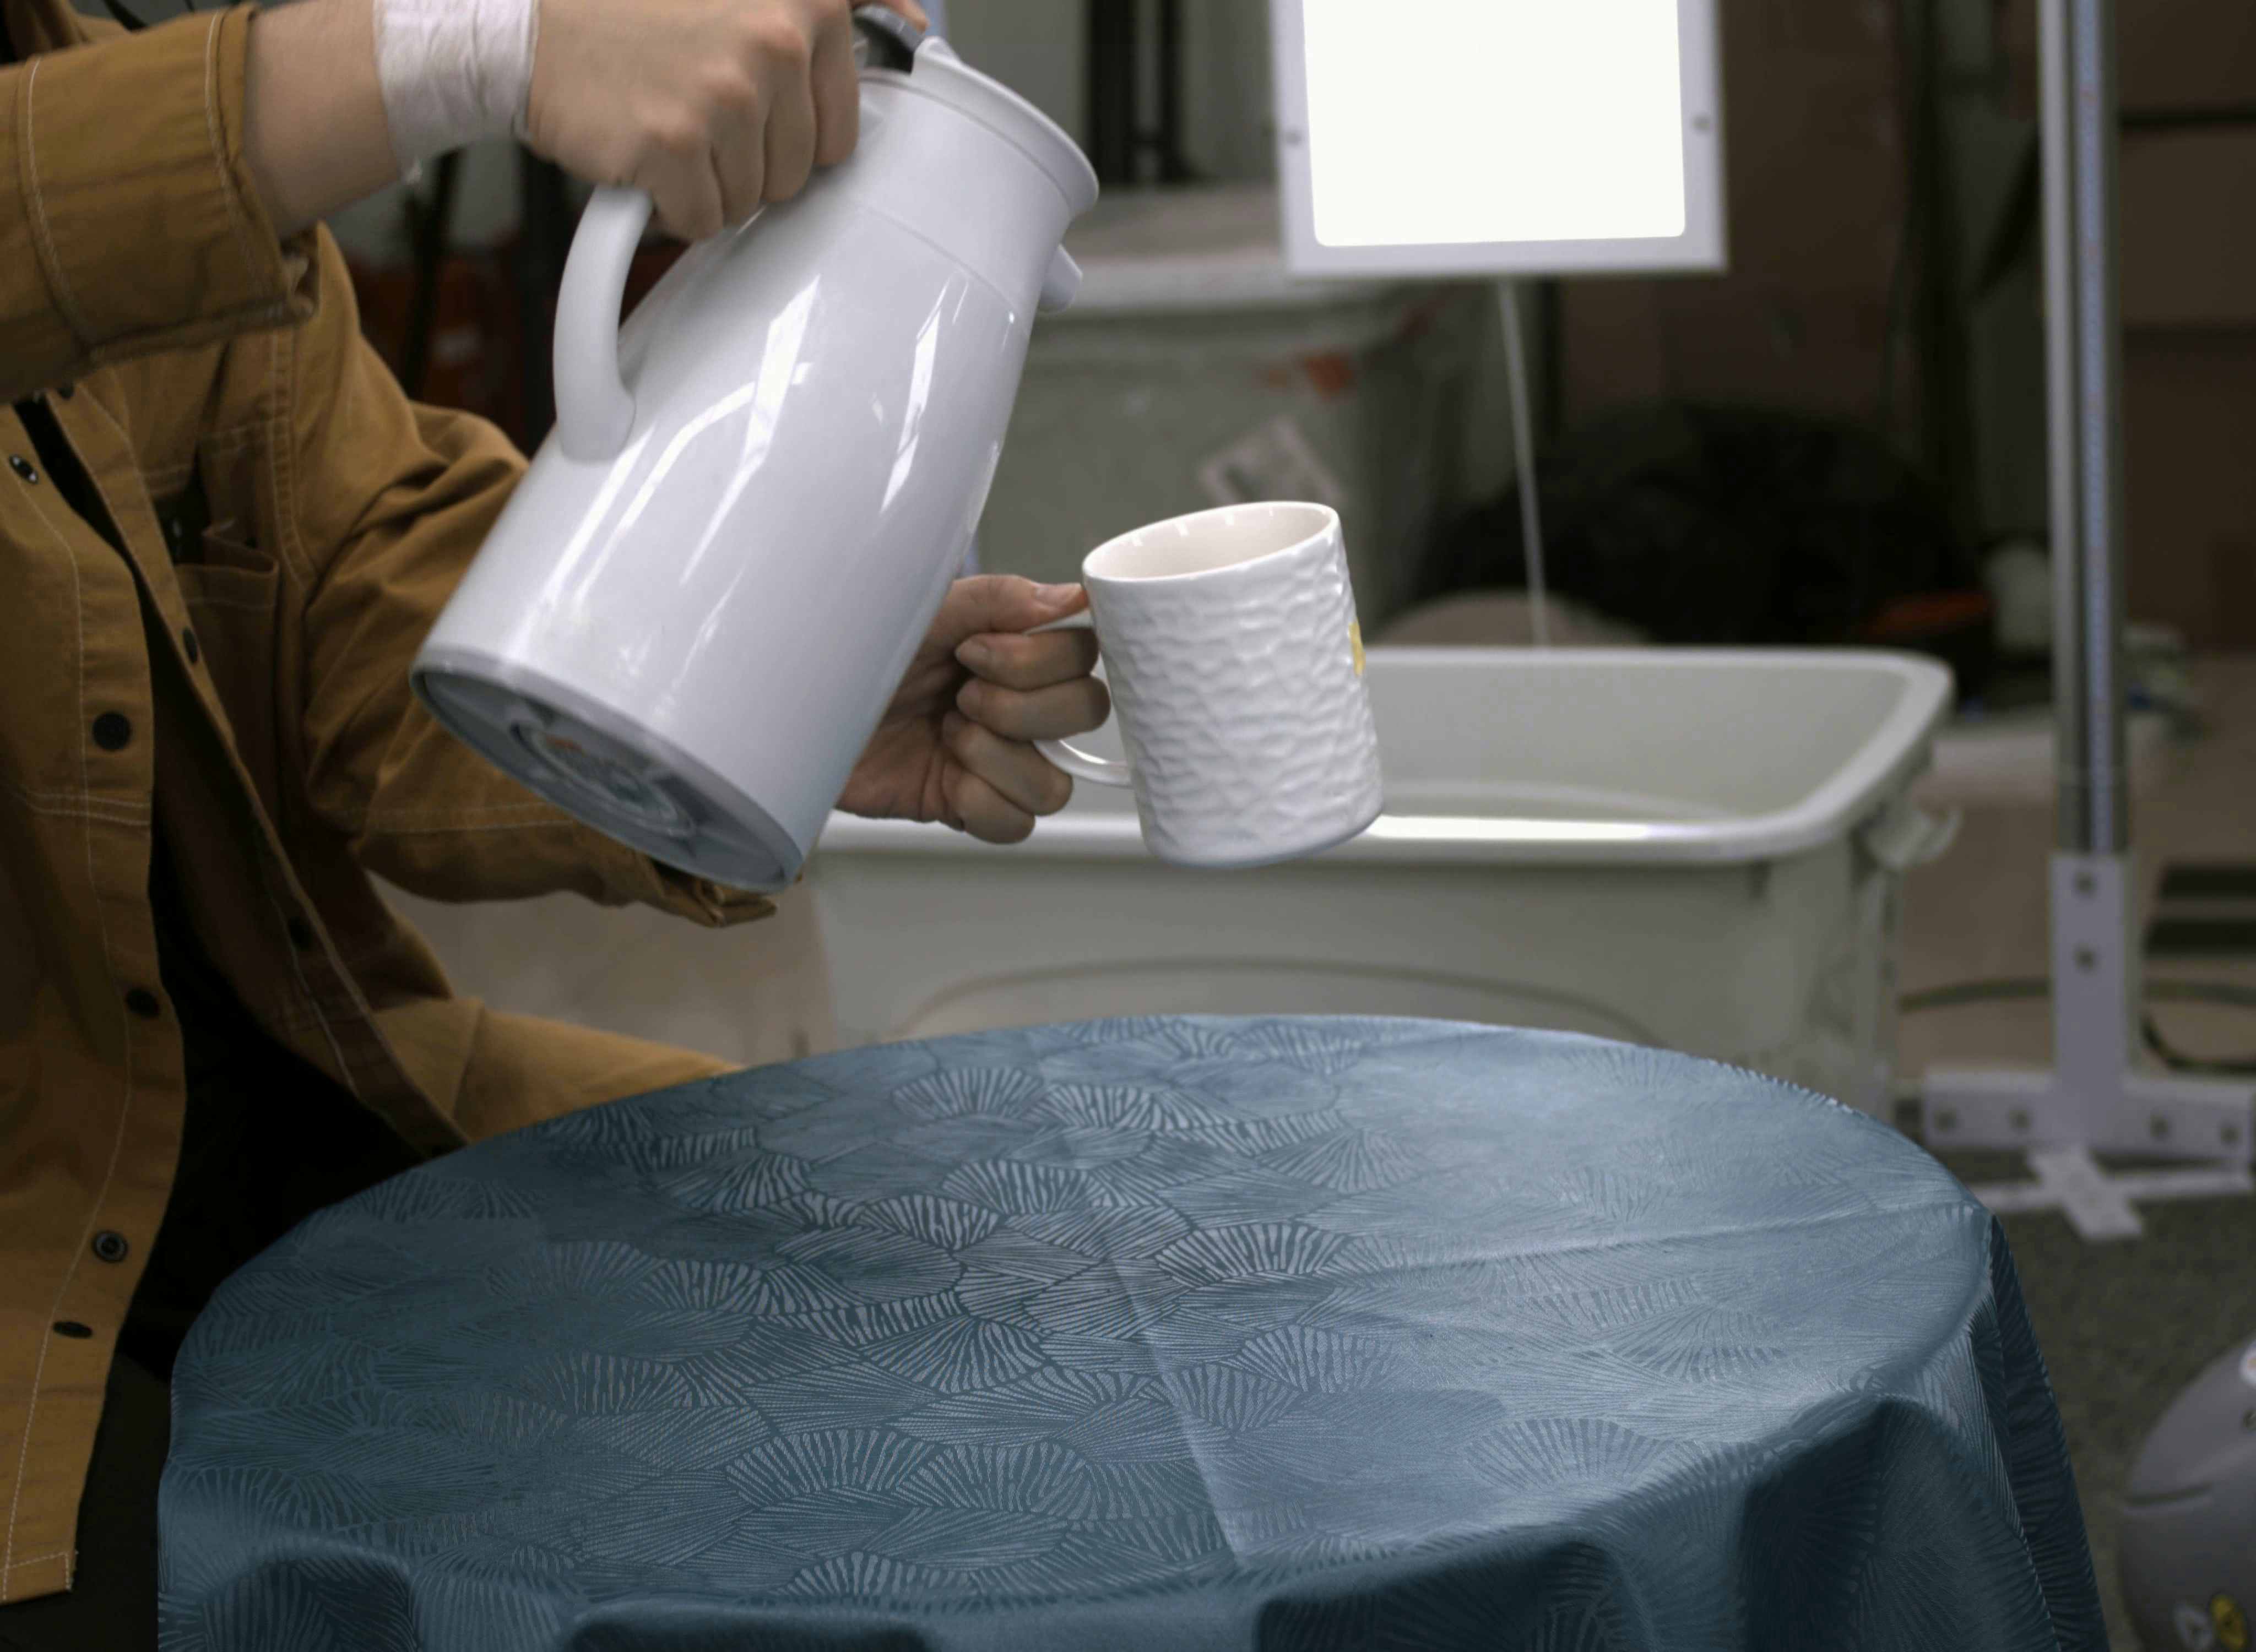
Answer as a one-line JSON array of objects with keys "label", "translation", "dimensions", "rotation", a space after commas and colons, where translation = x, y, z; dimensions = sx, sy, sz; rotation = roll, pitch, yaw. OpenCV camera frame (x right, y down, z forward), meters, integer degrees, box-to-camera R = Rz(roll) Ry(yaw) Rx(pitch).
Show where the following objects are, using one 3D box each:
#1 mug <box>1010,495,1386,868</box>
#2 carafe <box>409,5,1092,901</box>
[{"label": "mug", "translation": [0.022, -0.046, 1.810], "dimensions": [0.119, 0.102, 0.084], "rotation": [-5, 19, 16]}, {"label": "carafe", "translation": [-0.113, -0.125, 1.671], "dimensions": [0.135, 0.247, 0.165], "rotation": [15, -17, 46]}]
